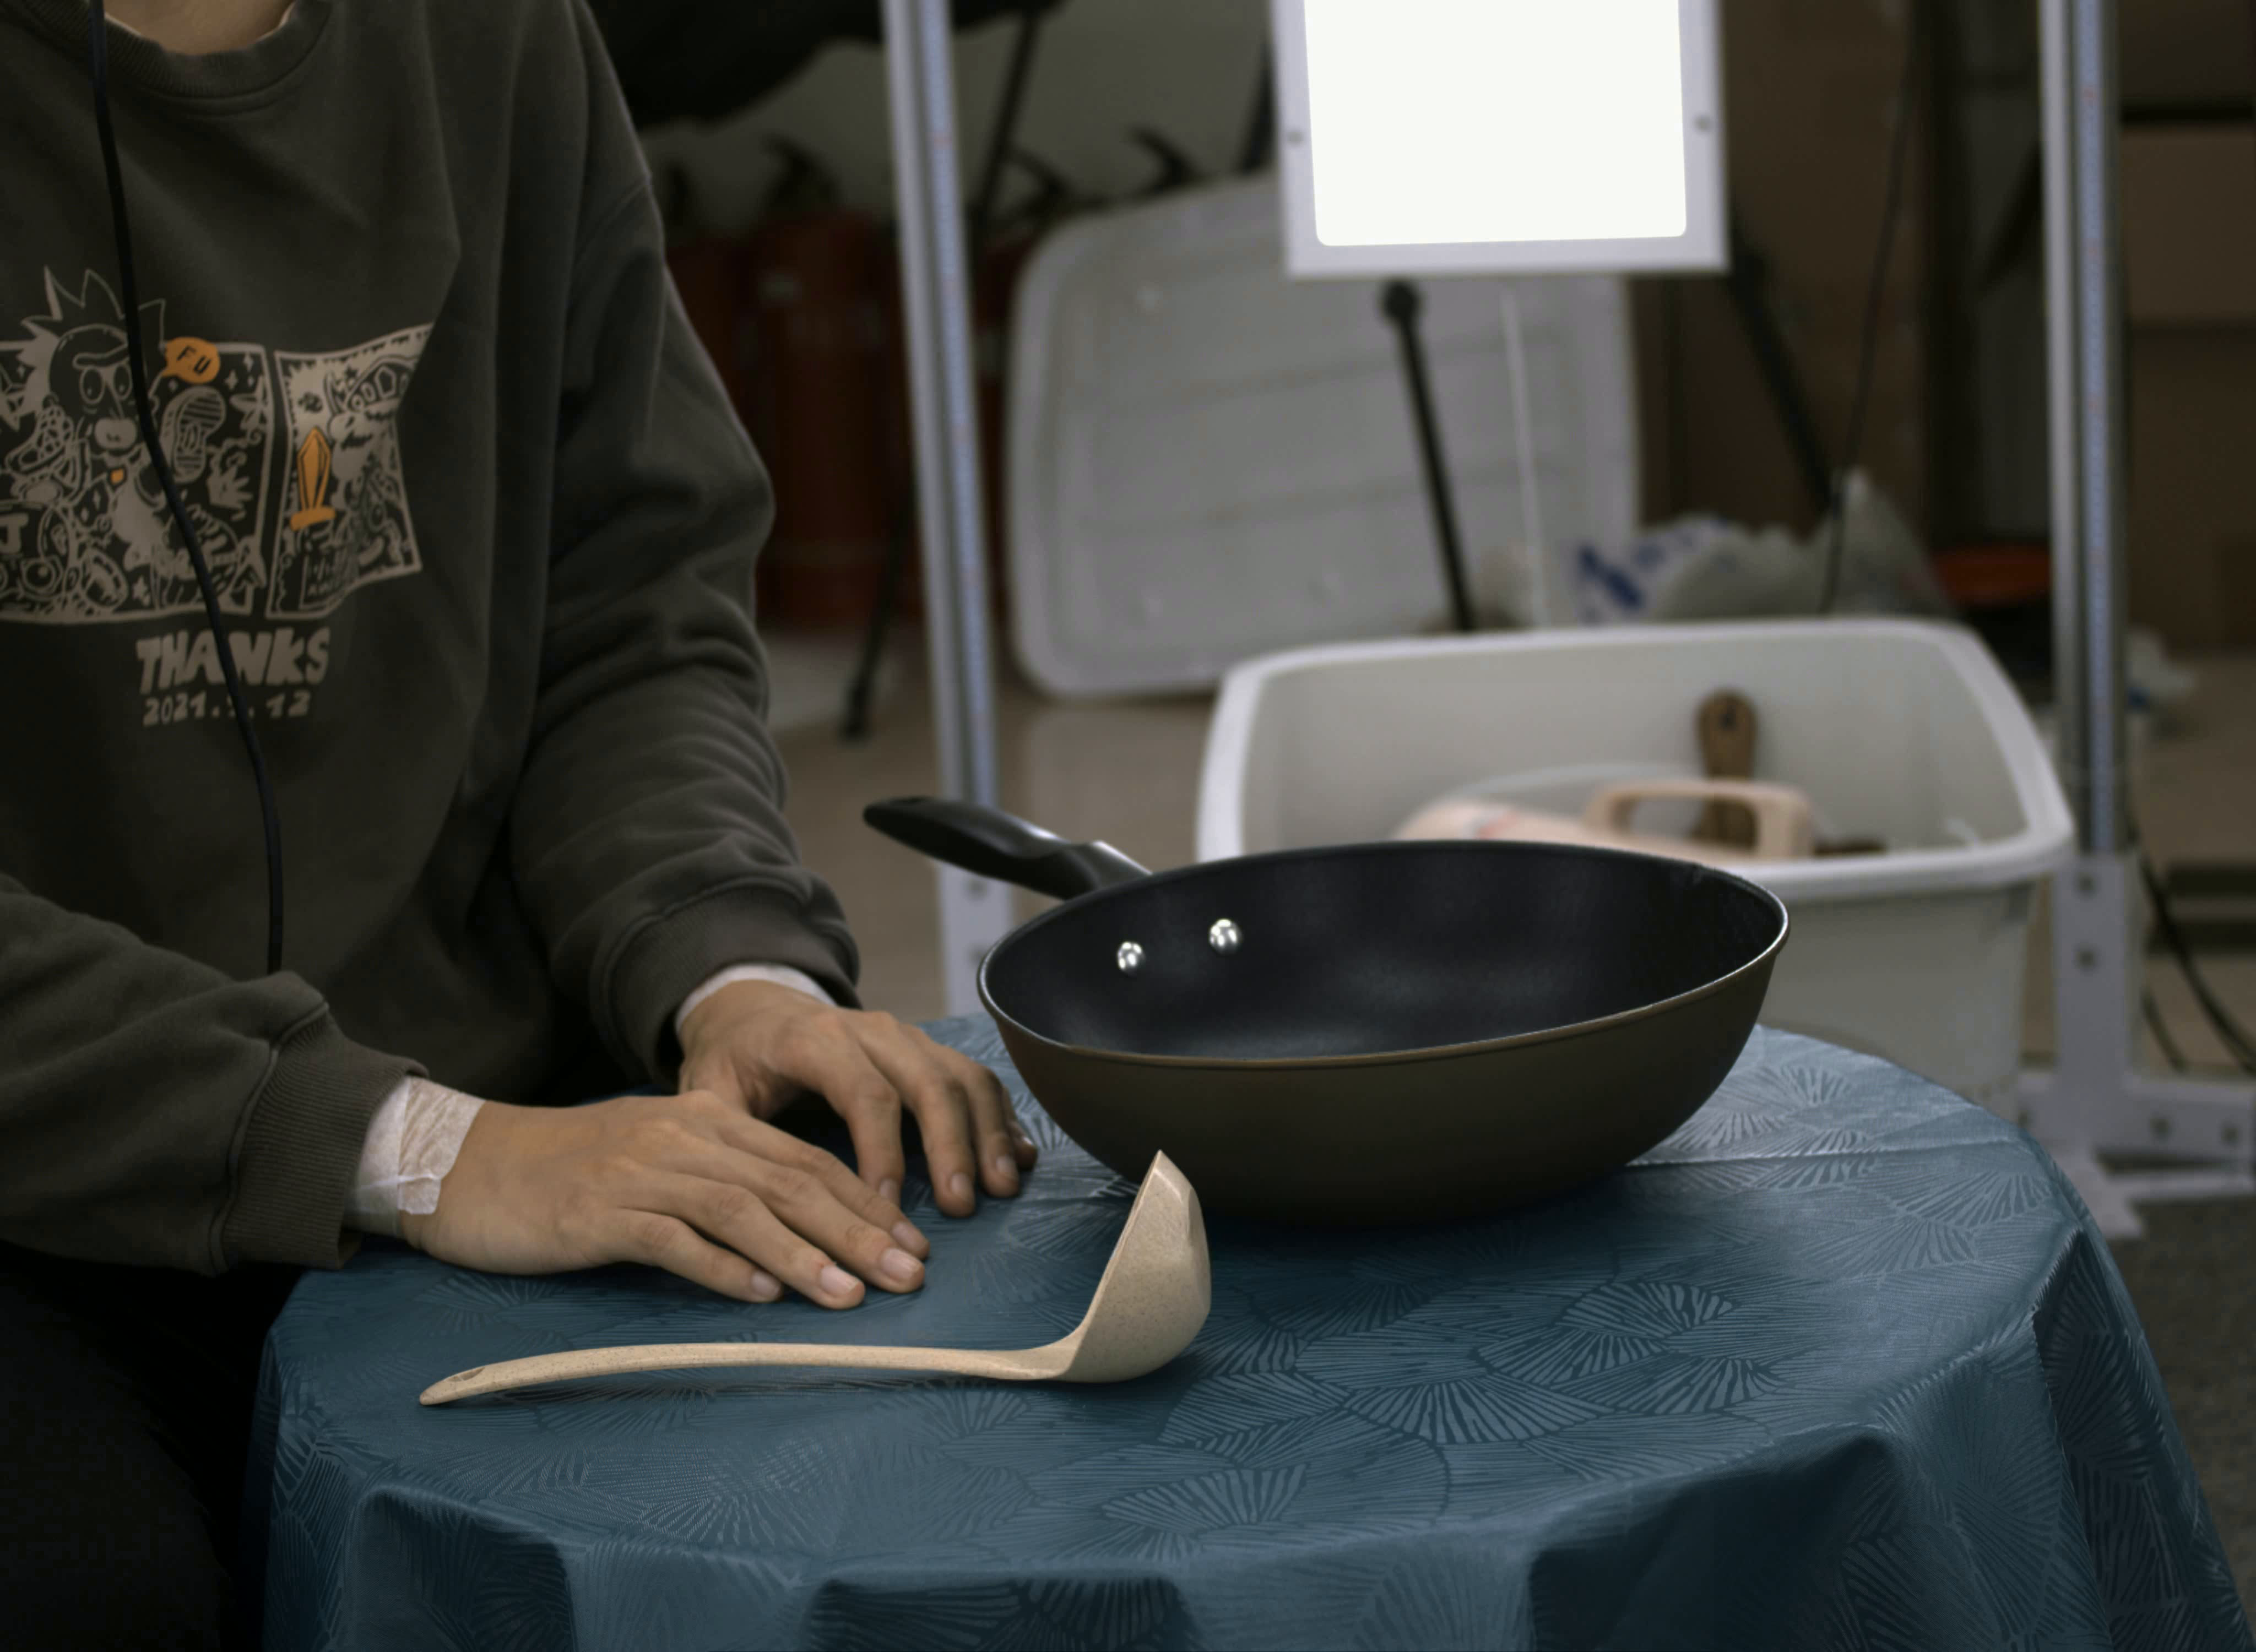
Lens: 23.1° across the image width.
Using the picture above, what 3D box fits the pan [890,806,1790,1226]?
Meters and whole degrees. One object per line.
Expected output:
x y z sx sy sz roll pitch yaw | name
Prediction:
0.038 0.063 1.968 0.281 0.087 0.472 -14 15 -31 | pan

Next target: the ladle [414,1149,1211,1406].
-0.101 0.141 1.721 0.255 0.073 0.071 -2 16 7 | ladle
